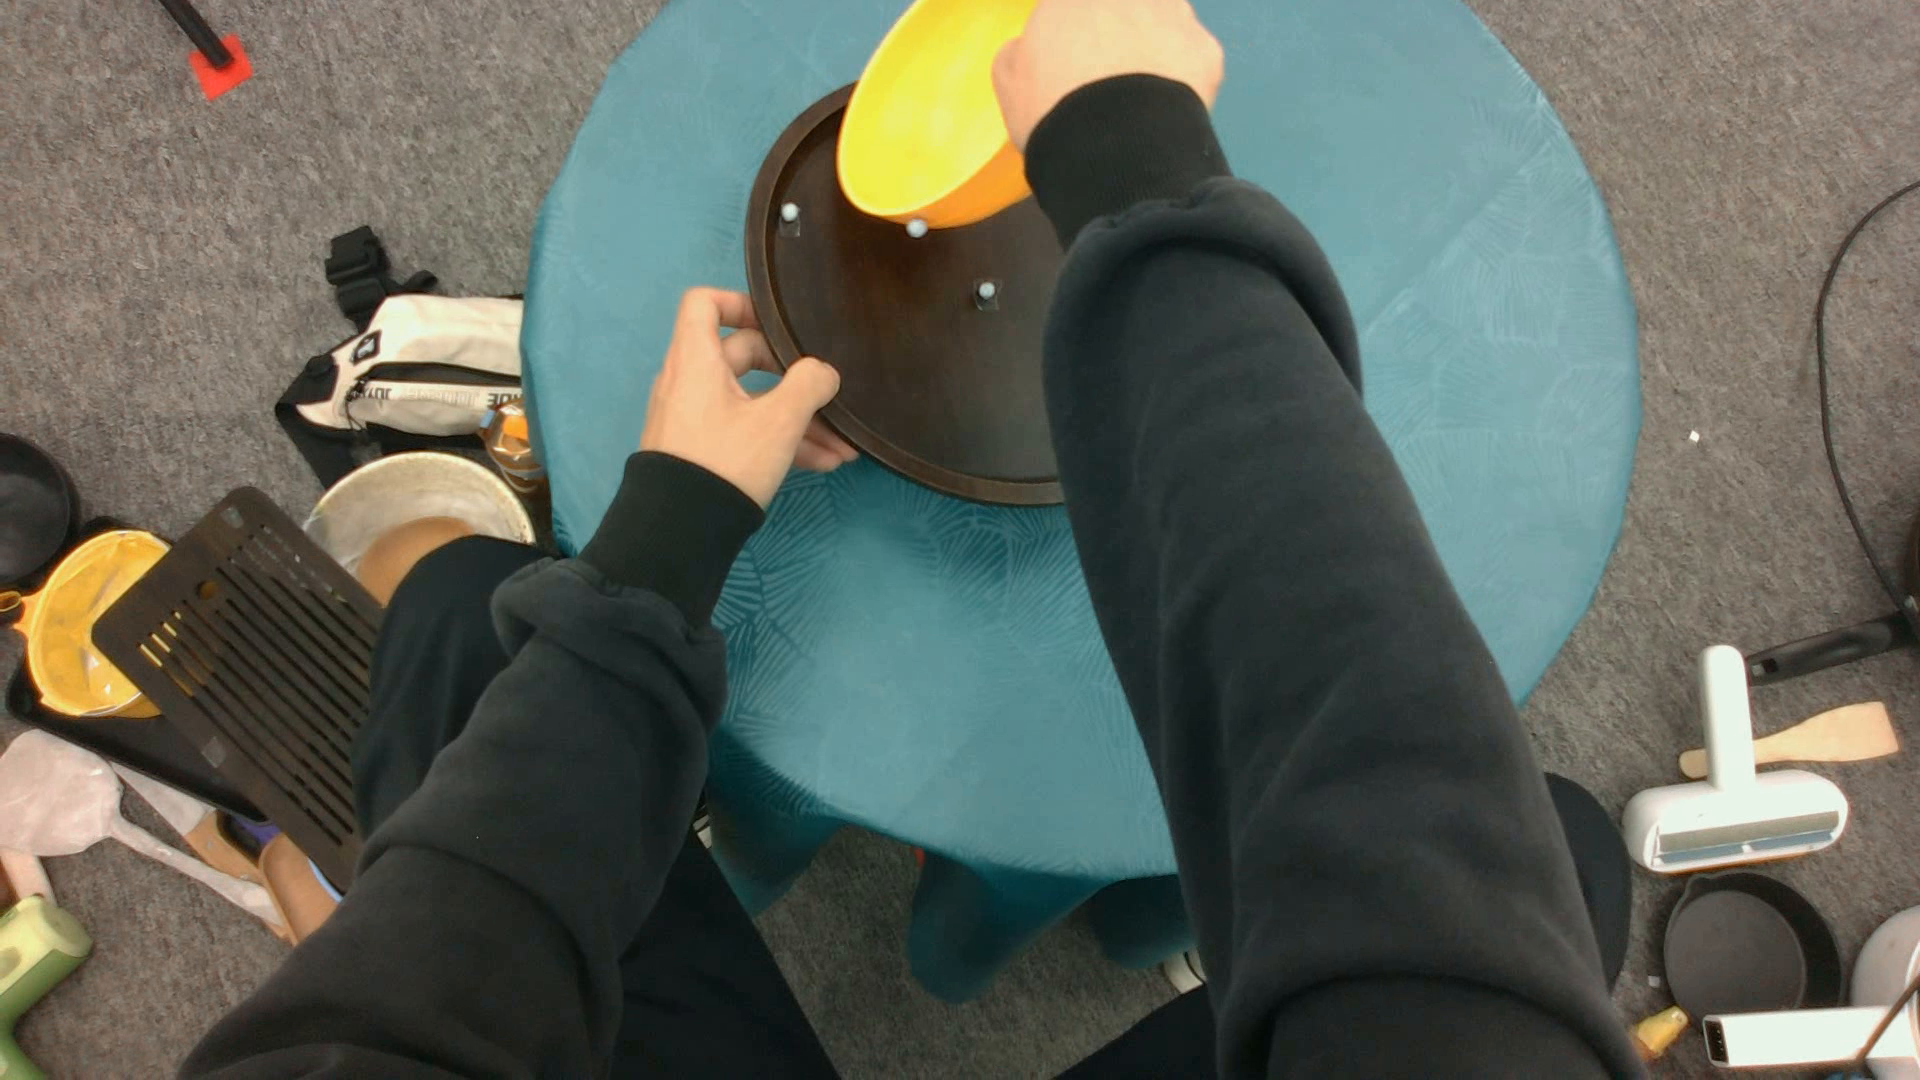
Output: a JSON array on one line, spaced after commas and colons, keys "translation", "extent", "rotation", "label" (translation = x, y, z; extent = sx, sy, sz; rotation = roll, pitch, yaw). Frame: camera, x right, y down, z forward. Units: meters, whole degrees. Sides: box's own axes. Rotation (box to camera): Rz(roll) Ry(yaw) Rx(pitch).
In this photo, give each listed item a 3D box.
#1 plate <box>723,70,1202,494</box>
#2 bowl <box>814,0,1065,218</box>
[{"translation": [0.005, -0.137, 0.699], "extent": [0.255, 0.029, 0.255], "rotation": [8, 66, -18], "label": "plate"}, {"translation": [0.000, -0.211, 0.665], "extent": [0.145, 0.060, 0.146], "rotation": [-21, 55, 34], "label": "bowl"}]
